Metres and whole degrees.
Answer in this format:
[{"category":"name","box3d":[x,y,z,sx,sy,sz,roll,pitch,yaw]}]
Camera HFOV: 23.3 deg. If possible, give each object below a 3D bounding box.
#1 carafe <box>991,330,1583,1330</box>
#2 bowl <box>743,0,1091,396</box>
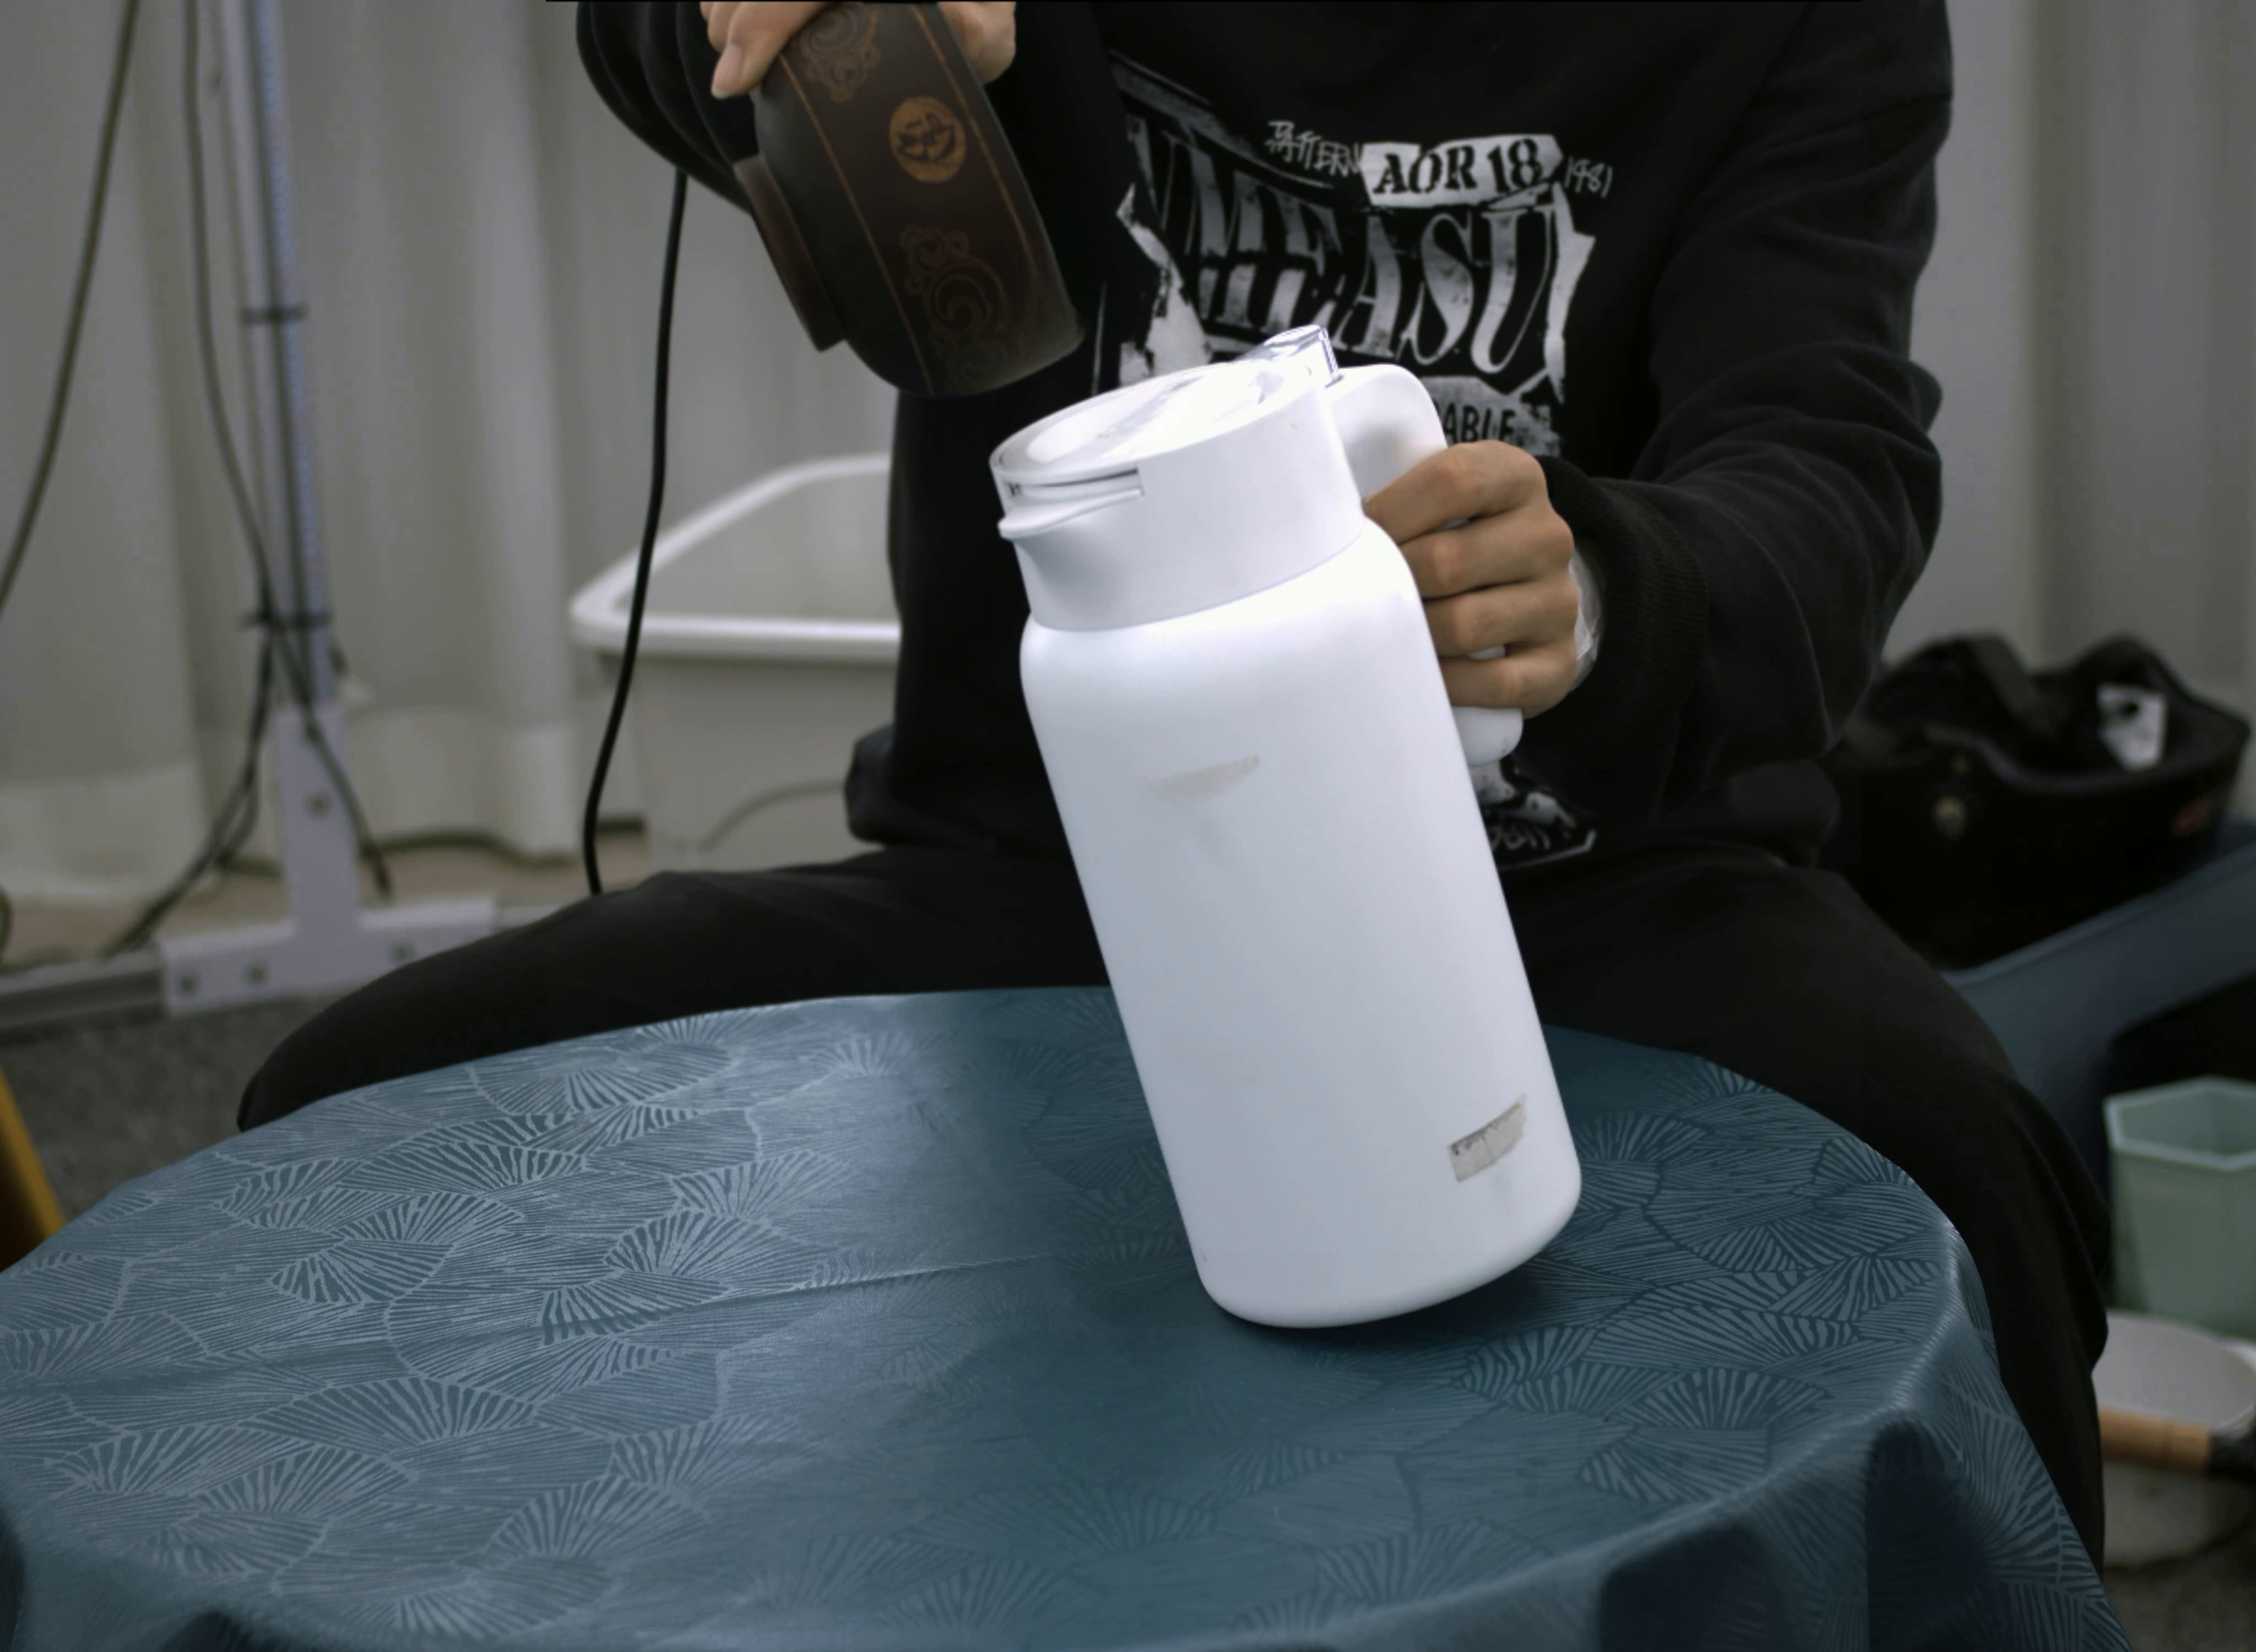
[{"category":"carafe","box3d":[0.053,-0.003,1.593,0.124,0.268,0.173,-6,18,42]},{"category":"bowl","box3d":[-0.065,-0.173,1.531,0.070,0.117,0.119,-25,17,-4]}]
